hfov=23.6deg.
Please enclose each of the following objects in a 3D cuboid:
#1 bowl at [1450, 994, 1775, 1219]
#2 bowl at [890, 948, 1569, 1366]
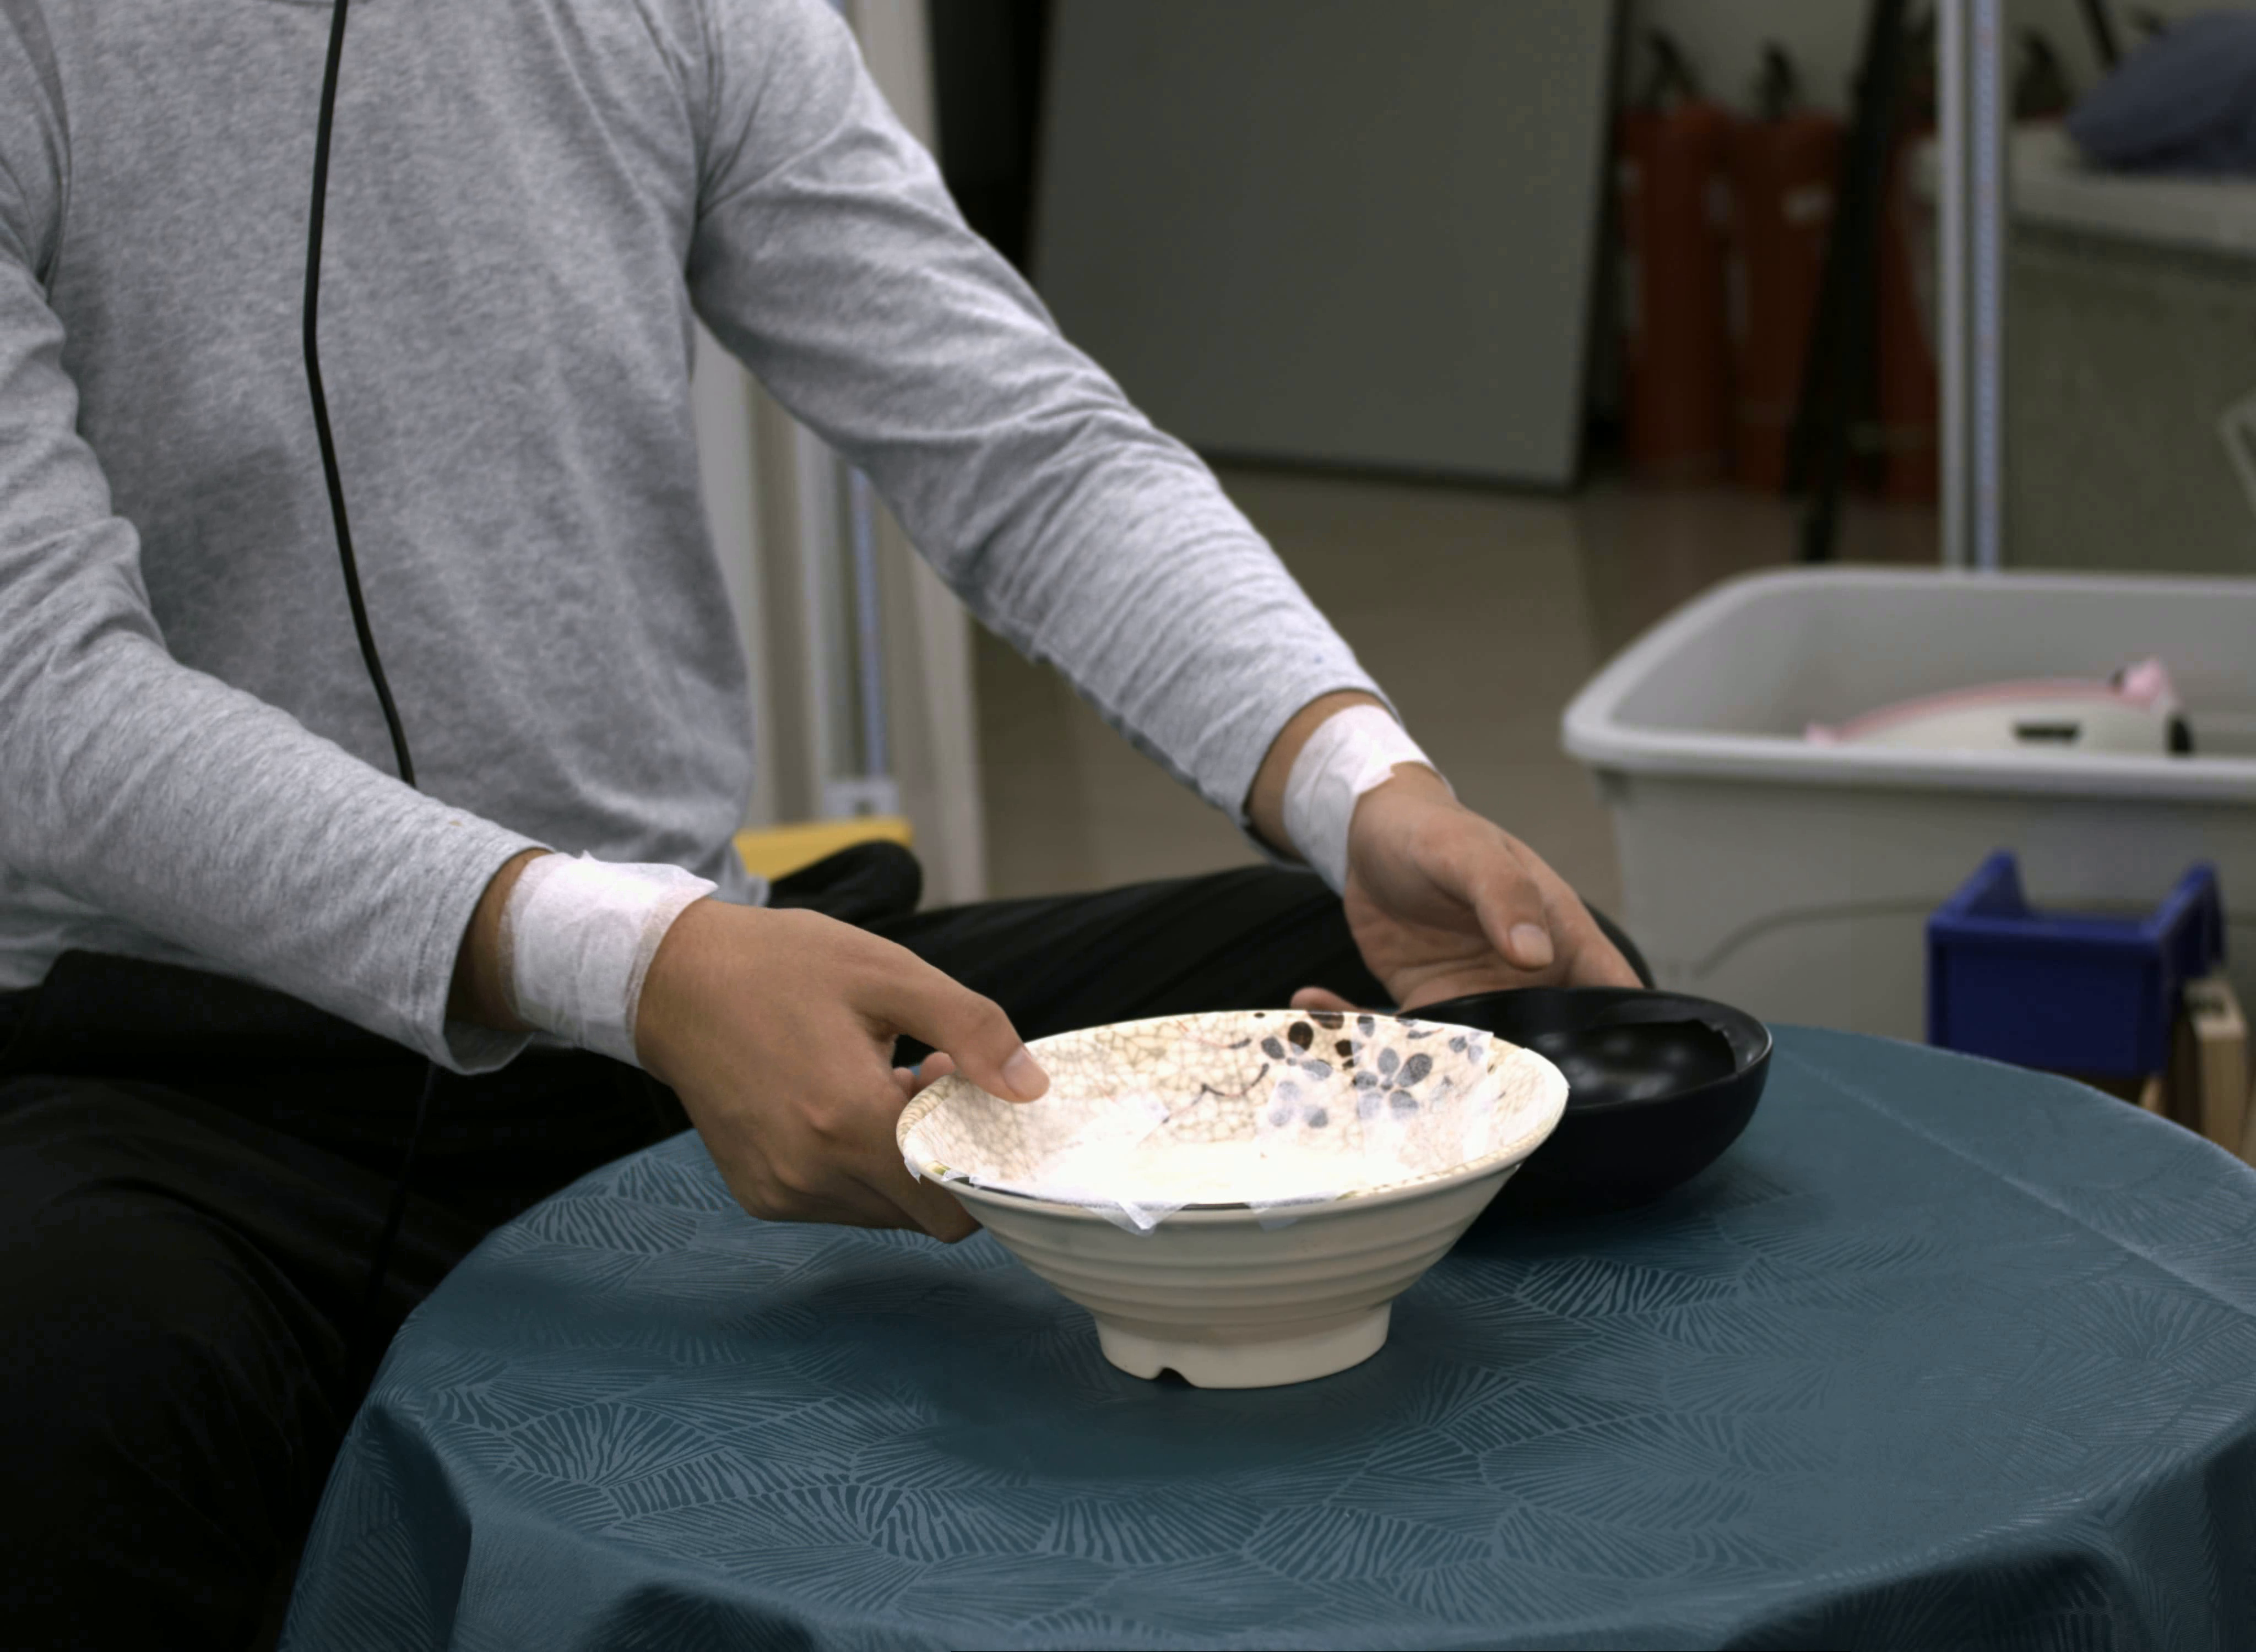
[{"bbox_3d":[0.141,0.094,1.741,0.138,0.050,0.140,-3,11,0],"label":"bowl"},{"bbox_3d":[0.028,0.107,1.603,0.201,0.079,0.204,2,18,-2],"label":"bowl"}]
